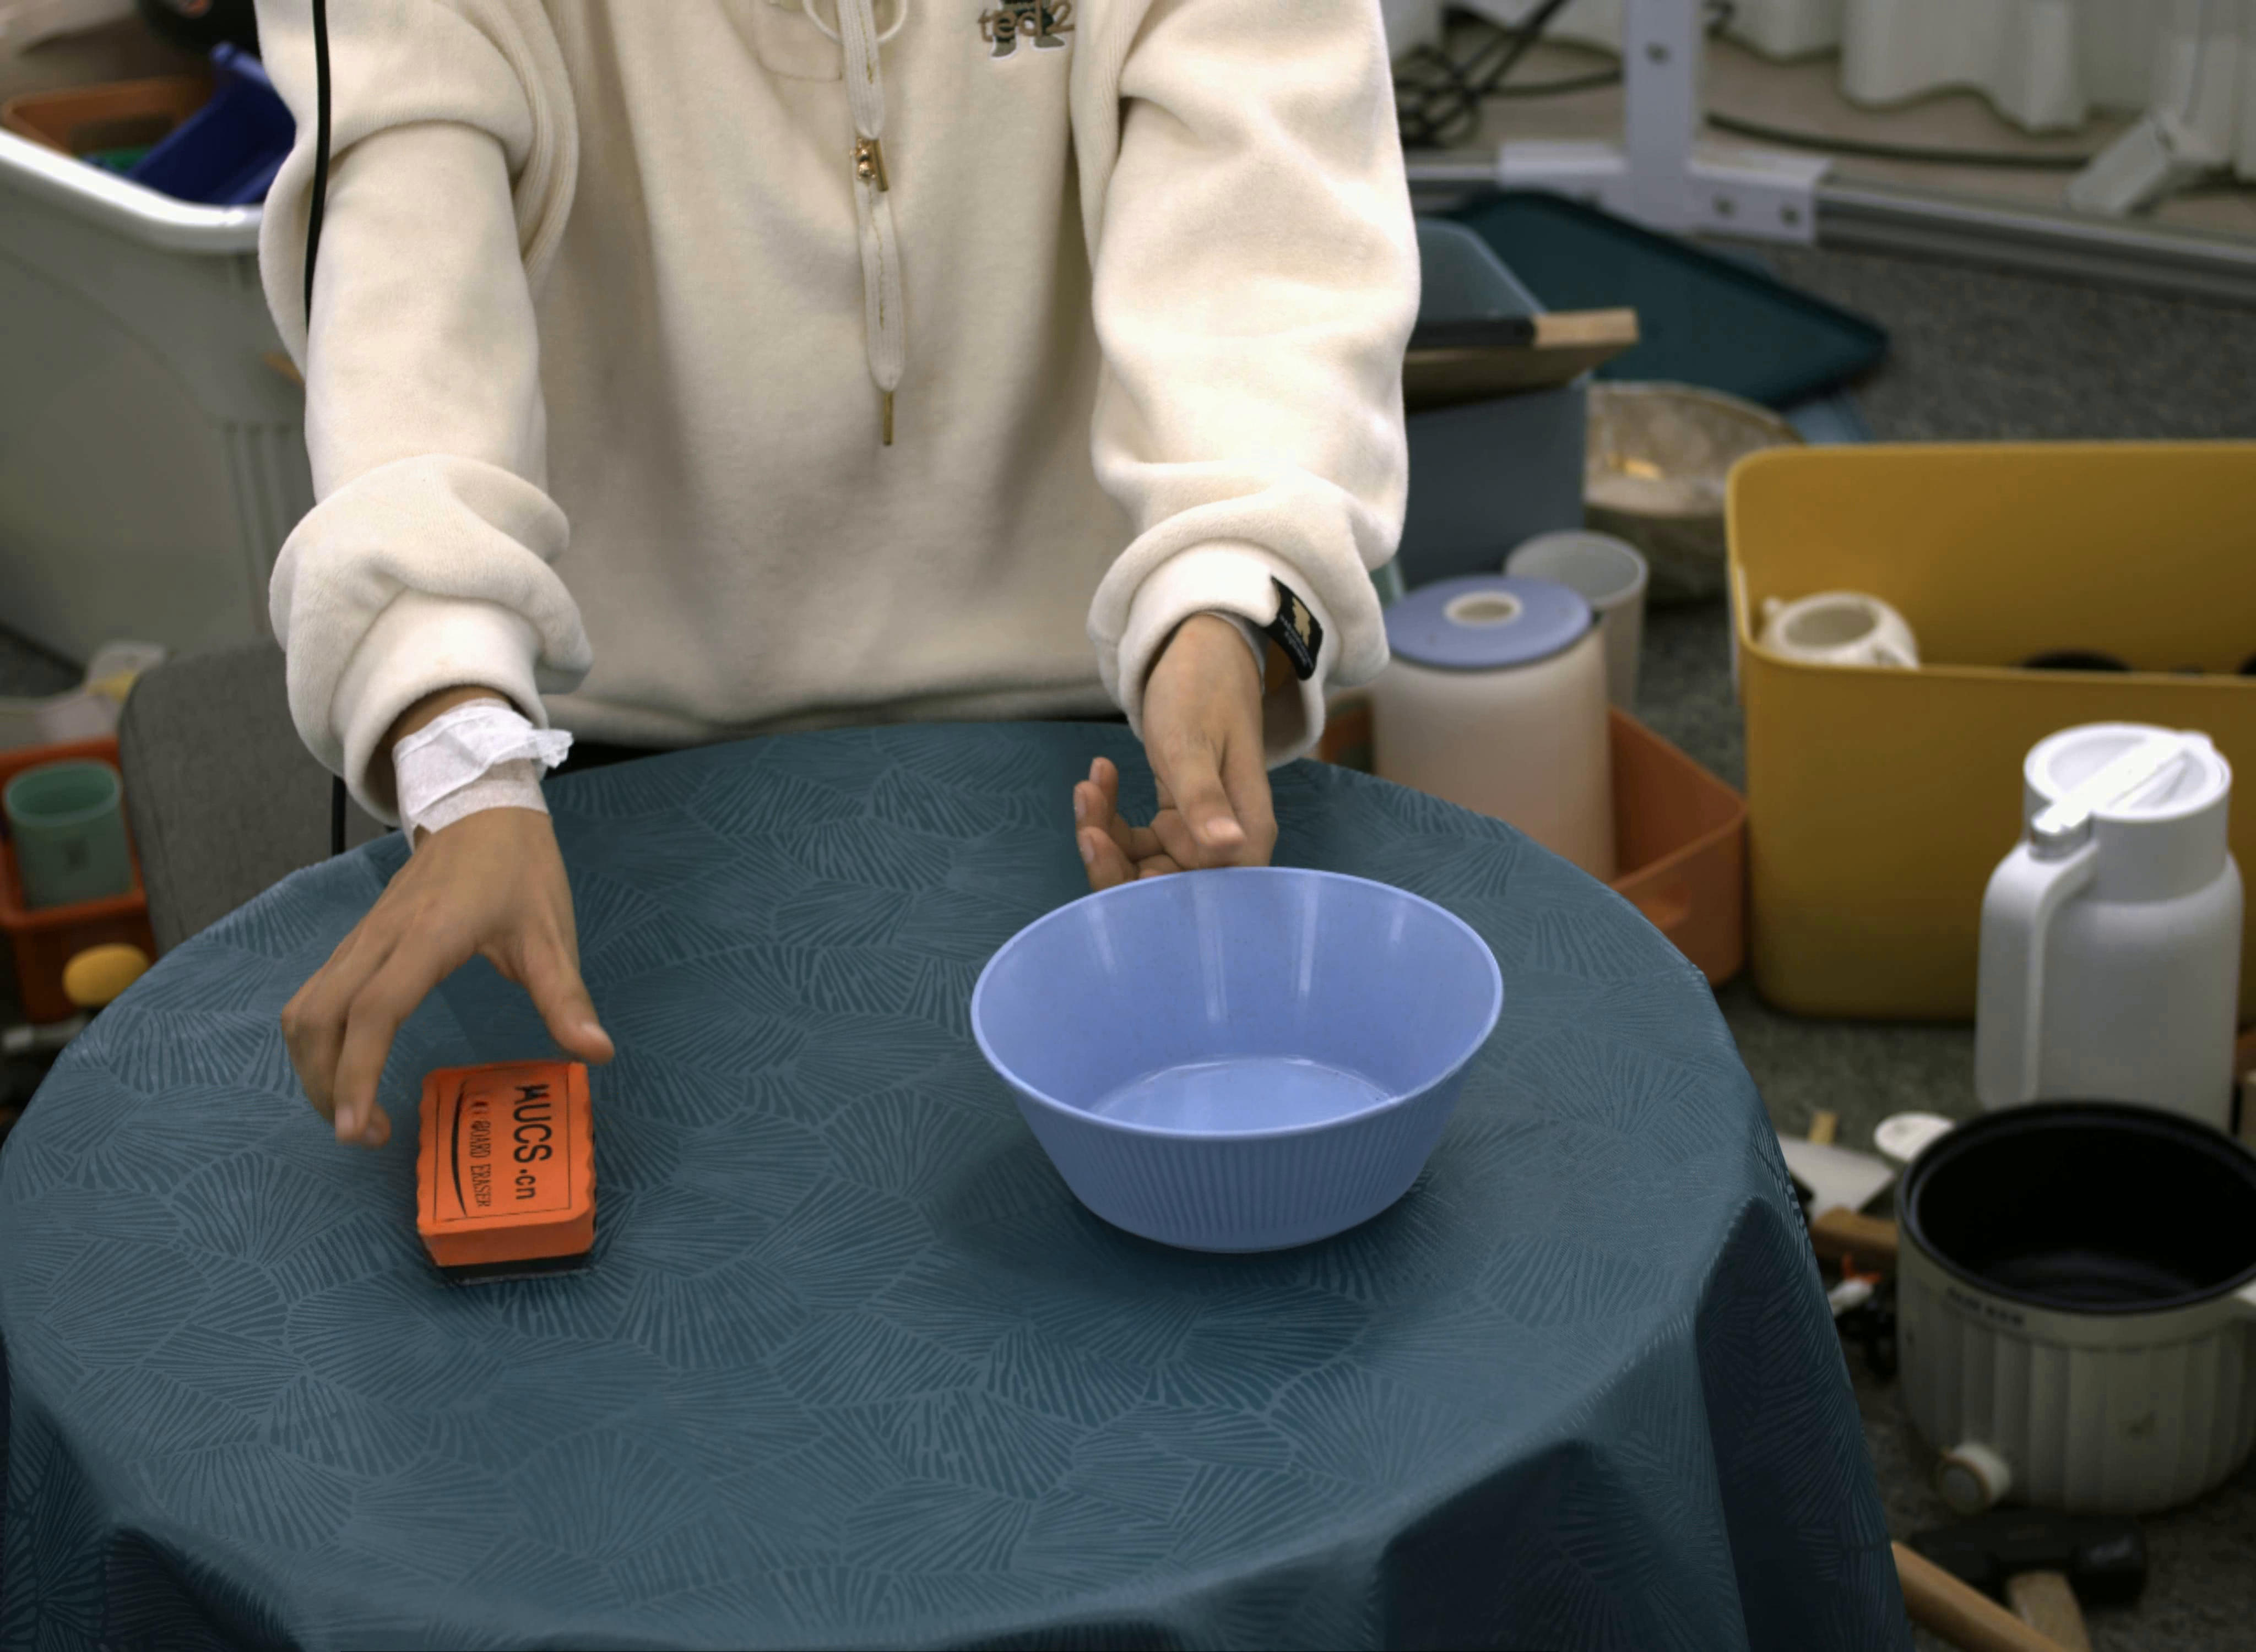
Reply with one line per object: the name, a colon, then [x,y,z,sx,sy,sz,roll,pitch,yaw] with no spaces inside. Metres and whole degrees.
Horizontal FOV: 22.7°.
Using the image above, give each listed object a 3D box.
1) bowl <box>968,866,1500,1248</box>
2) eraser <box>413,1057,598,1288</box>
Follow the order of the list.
bowl: [0.036,0.082,1.857,0.175,0.069,0.179,-2,27,2]
eraser: [-0.207,0.115,1.870,0.059,0.022,0.109,-6,27,-2]
